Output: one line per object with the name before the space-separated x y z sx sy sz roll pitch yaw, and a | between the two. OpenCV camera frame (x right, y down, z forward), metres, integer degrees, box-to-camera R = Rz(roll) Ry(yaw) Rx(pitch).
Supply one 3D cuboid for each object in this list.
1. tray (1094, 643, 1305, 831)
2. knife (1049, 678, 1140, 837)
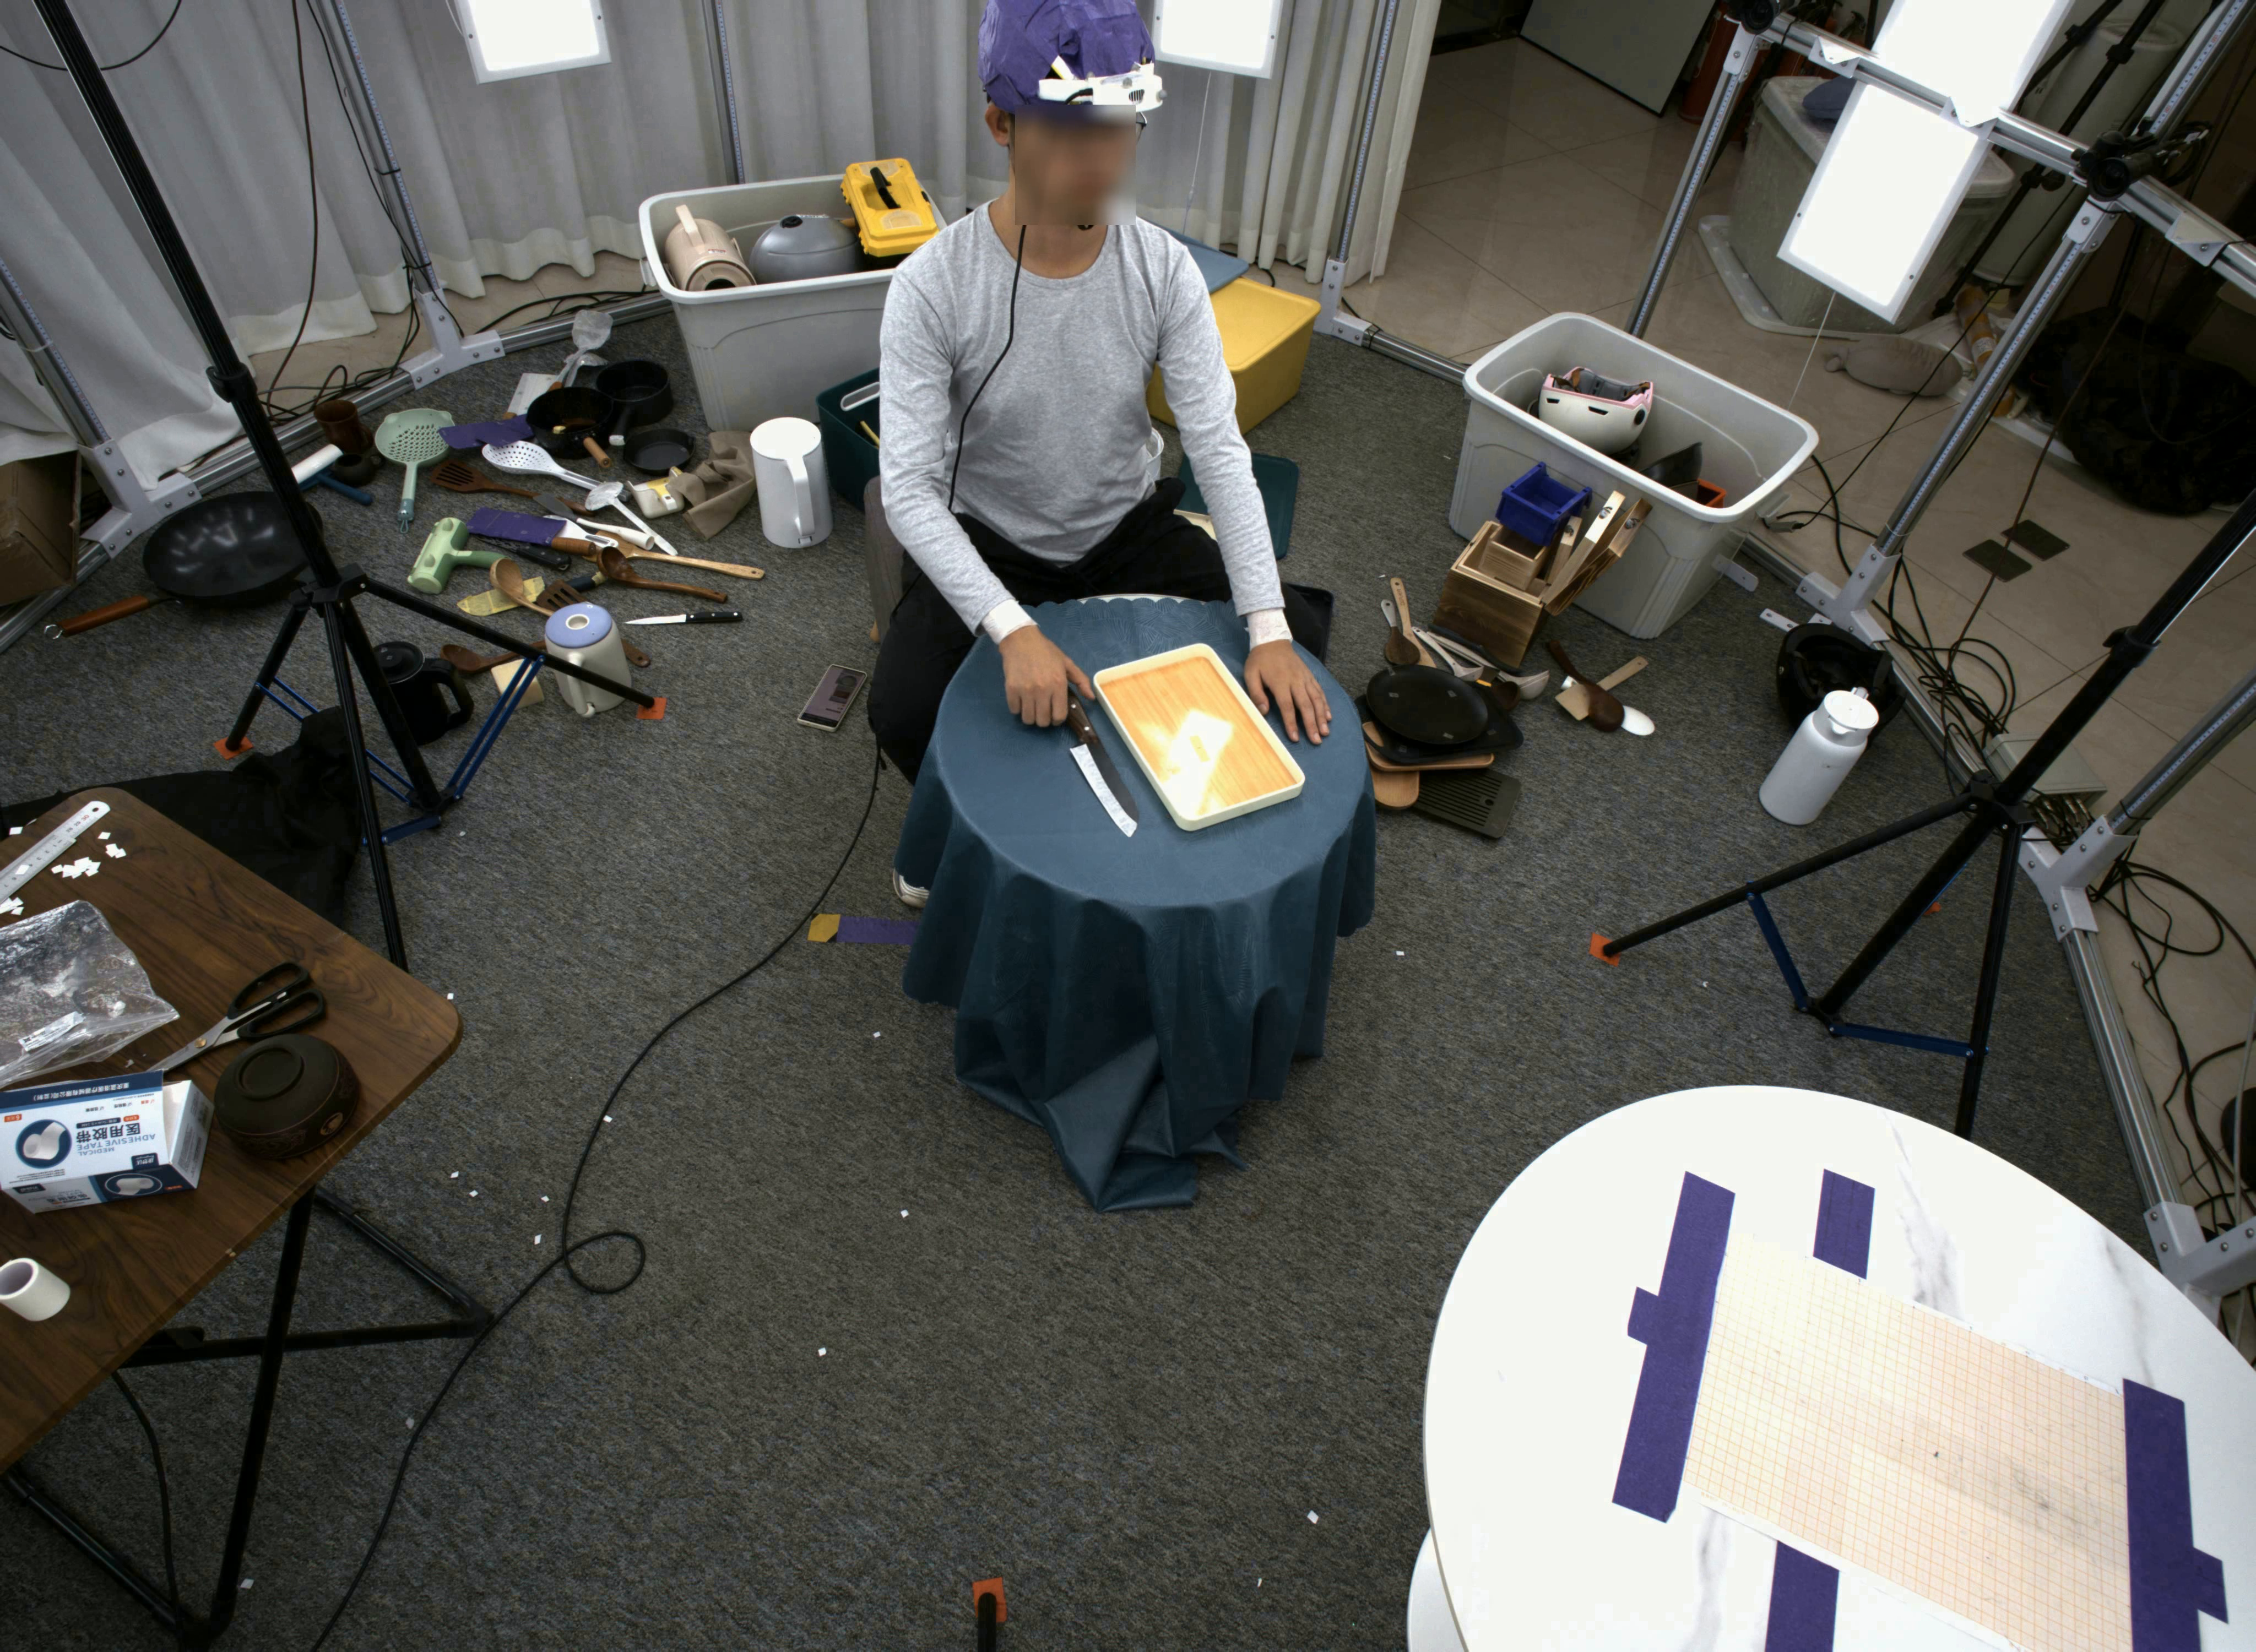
tray | 0.093 -0.129 1.769 0.192 0.027 0.307 -17 52 -18
knife | -0.048 -0.095 1.737 0.050 0.019 0.296 -18 55 -12
